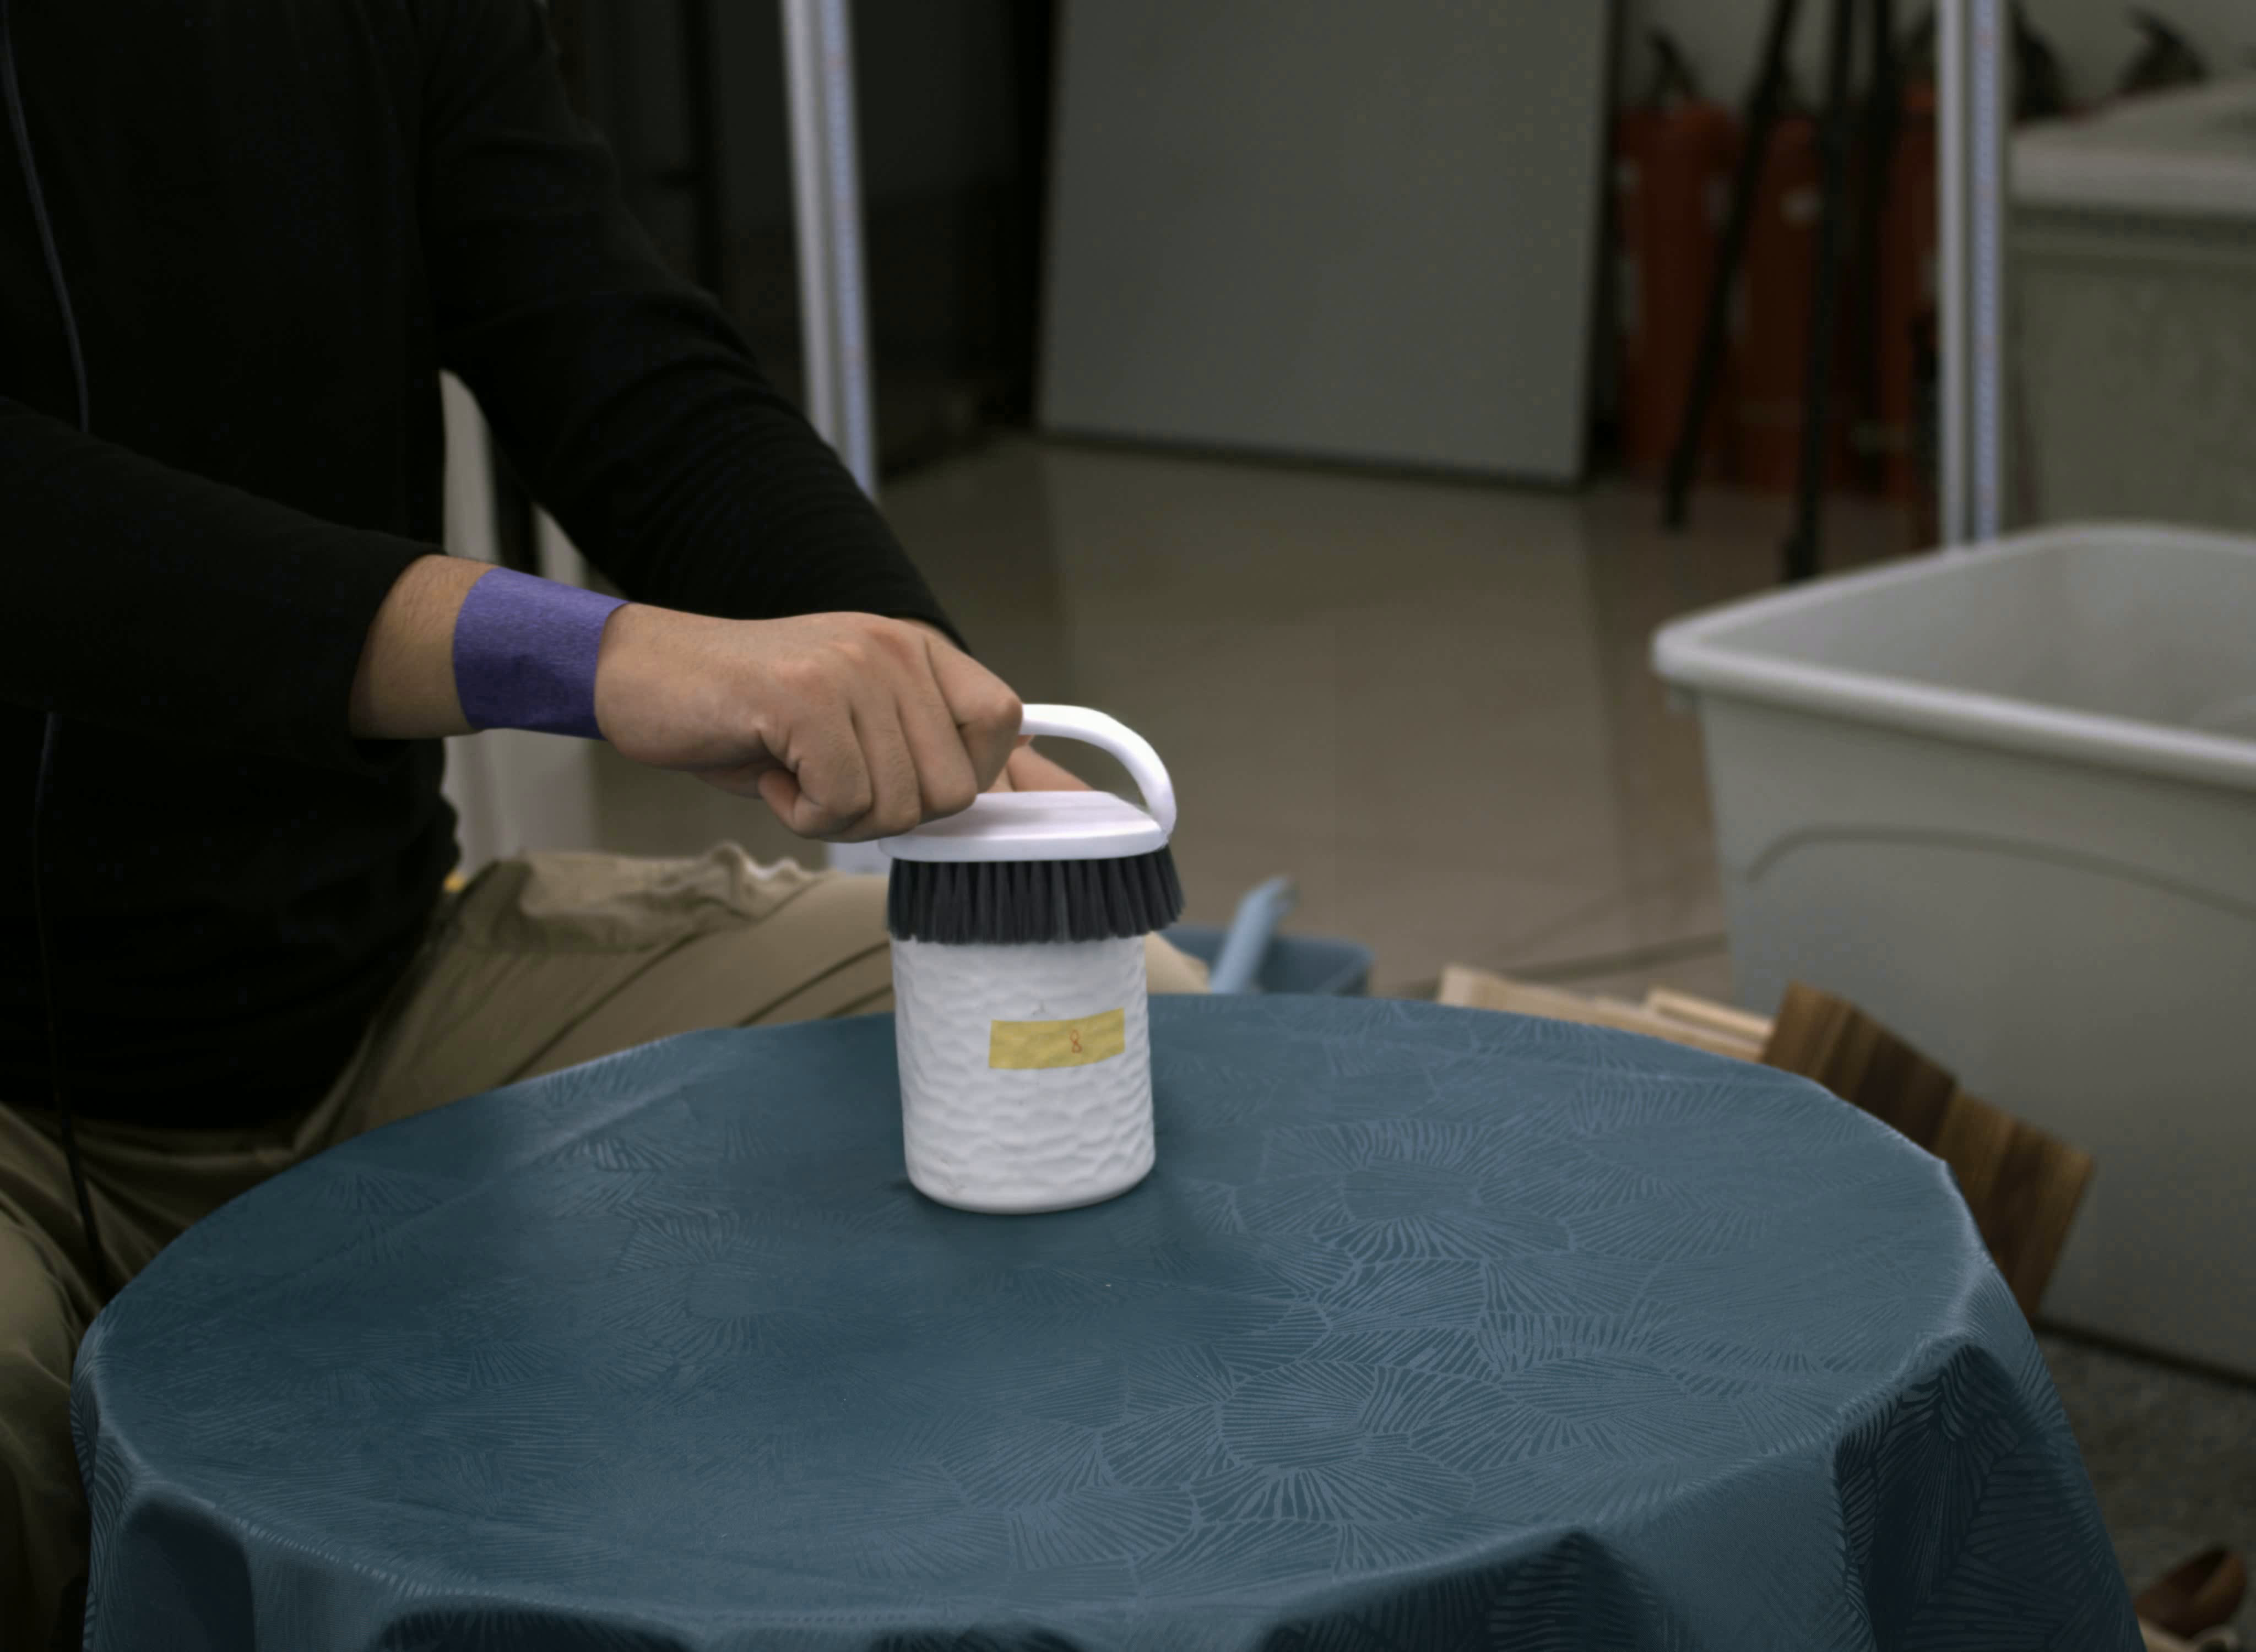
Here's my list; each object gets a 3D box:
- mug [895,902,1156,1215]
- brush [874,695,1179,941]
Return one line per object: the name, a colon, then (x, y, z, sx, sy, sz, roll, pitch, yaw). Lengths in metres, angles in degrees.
mug: (-0.033, 0.064, 1.793, 0.084, 0.103, 0.118, -2, 12, 2)
brush: (-0.034, -0.005, 1.727, 0.098, 0.073, 0.050, -1, 17, 12)
